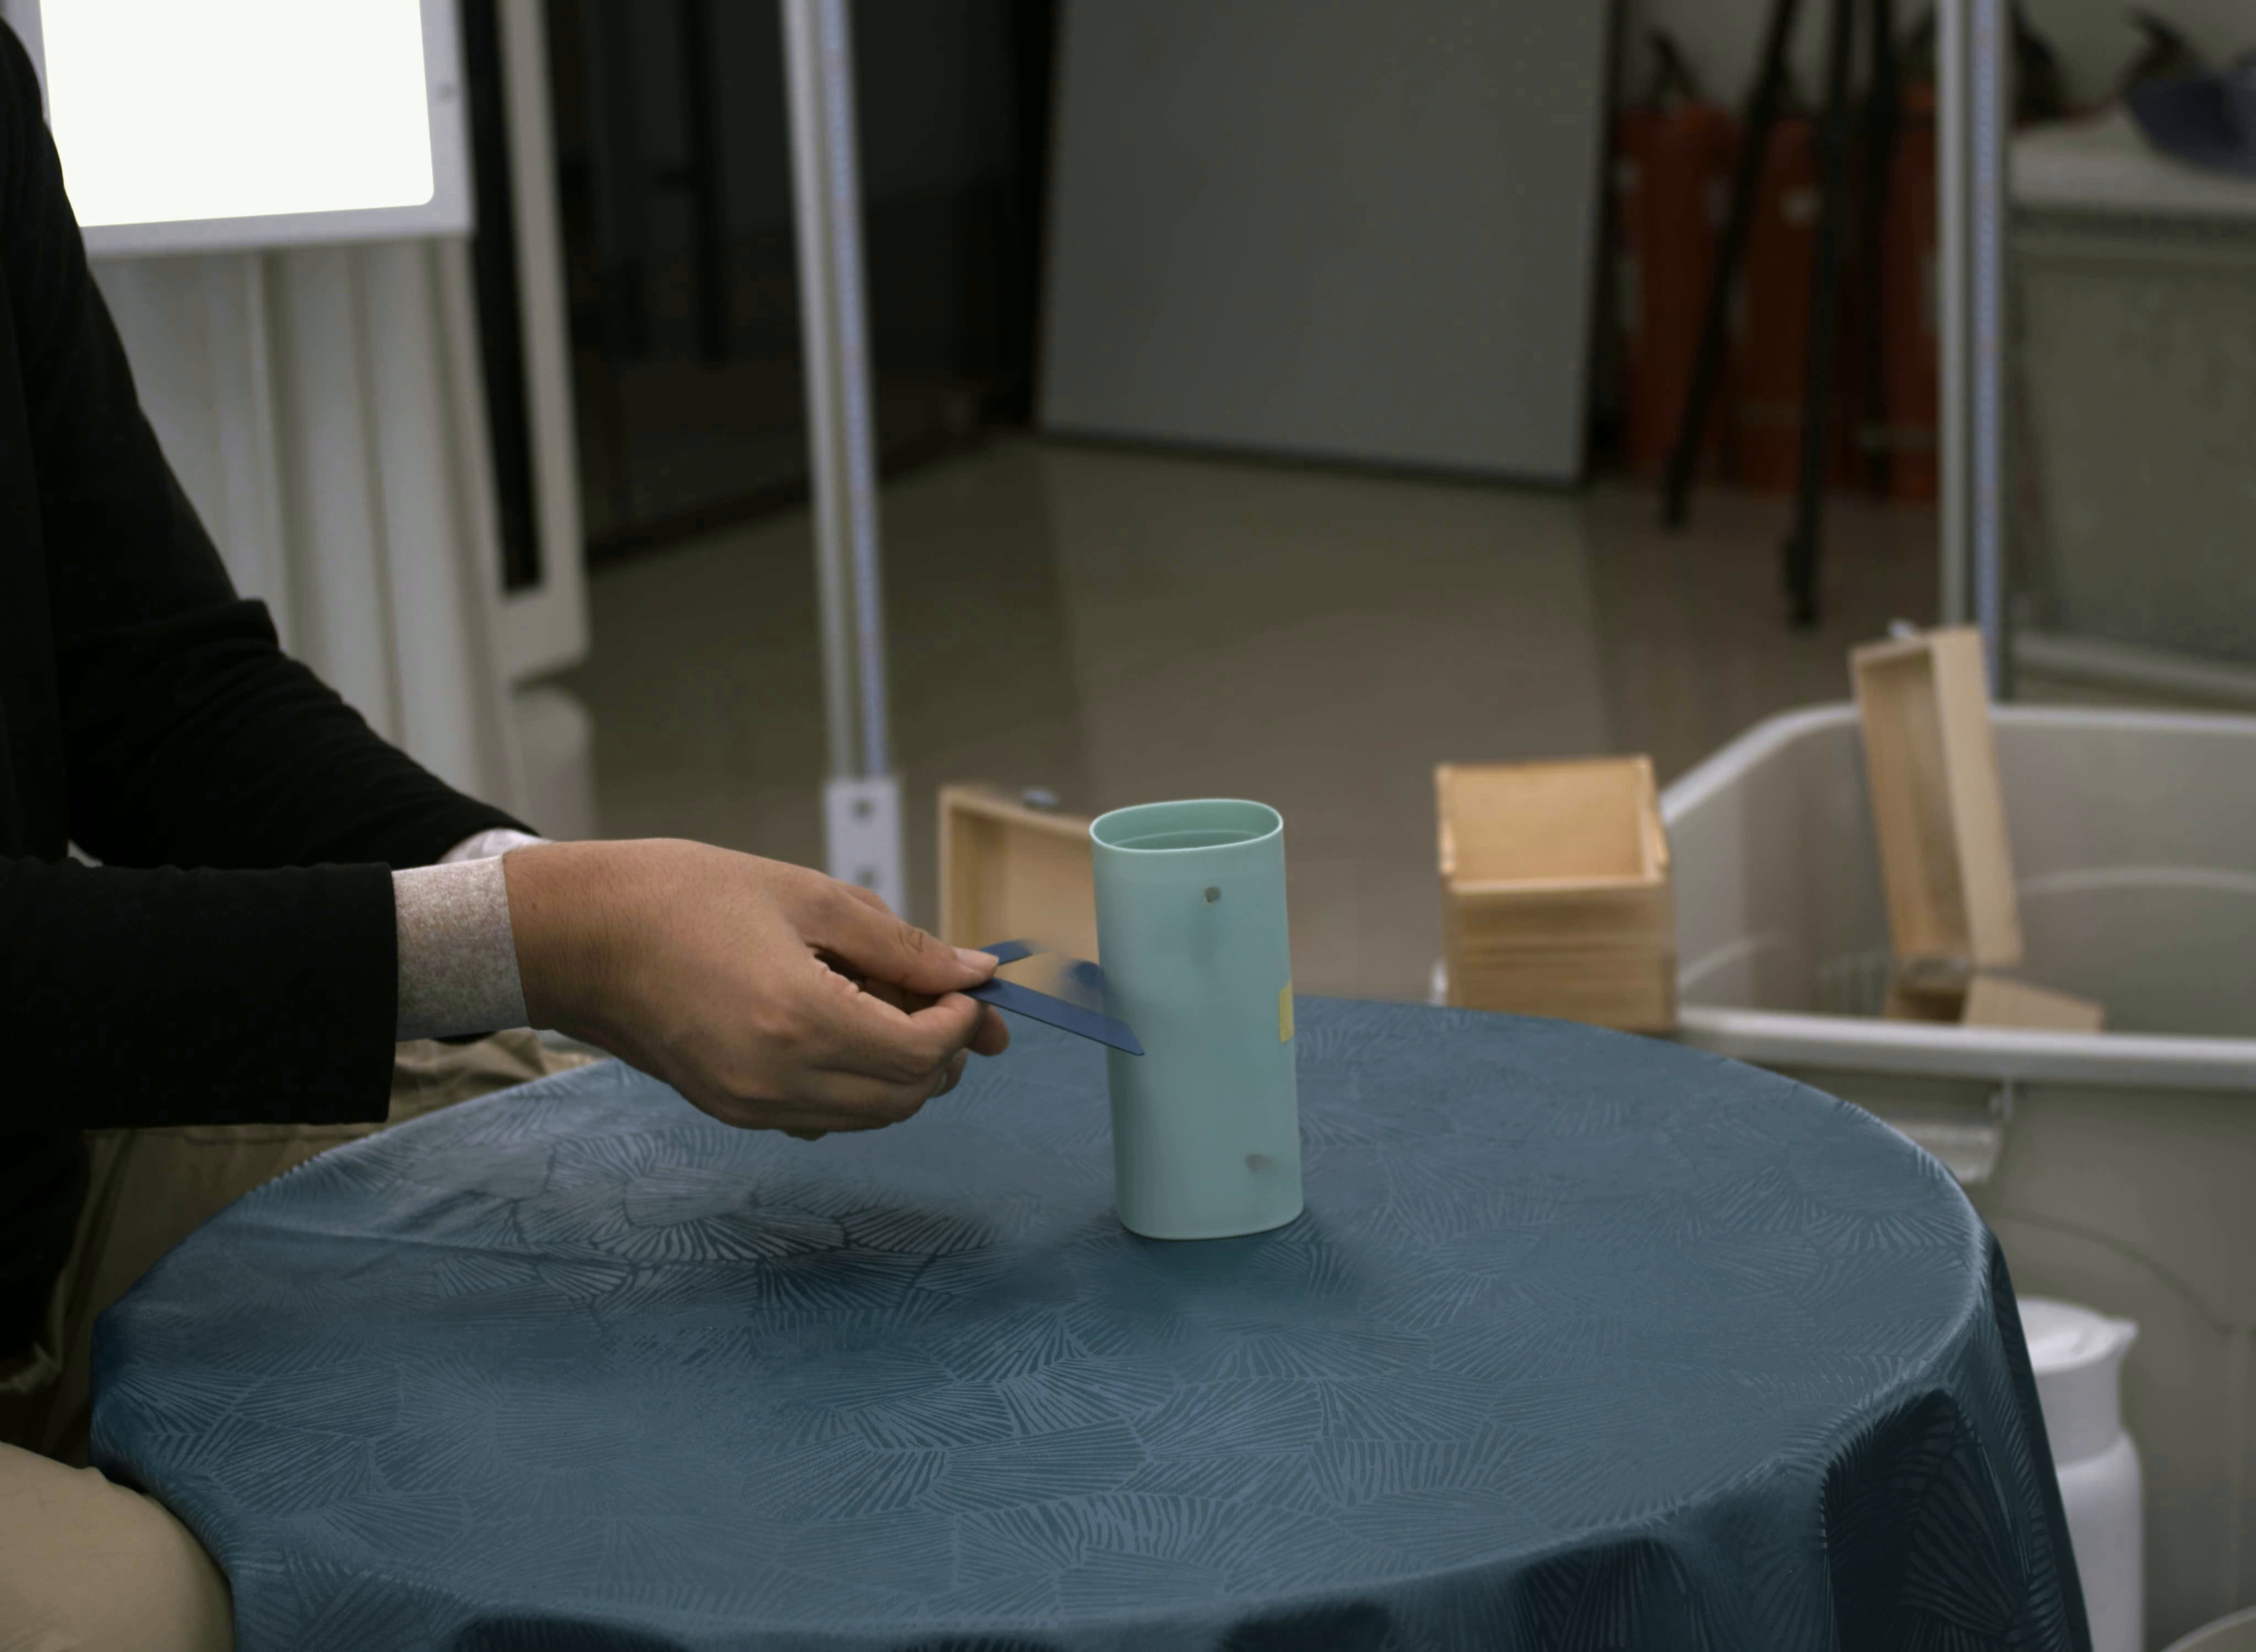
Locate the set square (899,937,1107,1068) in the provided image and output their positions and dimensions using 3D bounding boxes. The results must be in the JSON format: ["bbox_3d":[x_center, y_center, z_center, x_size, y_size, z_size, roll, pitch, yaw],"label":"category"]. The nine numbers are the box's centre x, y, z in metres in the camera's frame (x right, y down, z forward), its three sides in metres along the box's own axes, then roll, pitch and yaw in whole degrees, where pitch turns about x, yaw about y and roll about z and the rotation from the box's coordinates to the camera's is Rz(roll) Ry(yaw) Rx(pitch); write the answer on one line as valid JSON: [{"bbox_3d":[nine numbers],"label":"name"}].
[{"bbox_3d":[-0.040,0.055,1.688,0.060,0.006,0.132,-4,16,-4],"label":"set square"}]

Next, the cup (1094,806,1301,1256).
[{"bbox_3d":[0.022,0.065,1.731,0.066,0.134,0.067,-3,14,0],"label":"cup"}]
